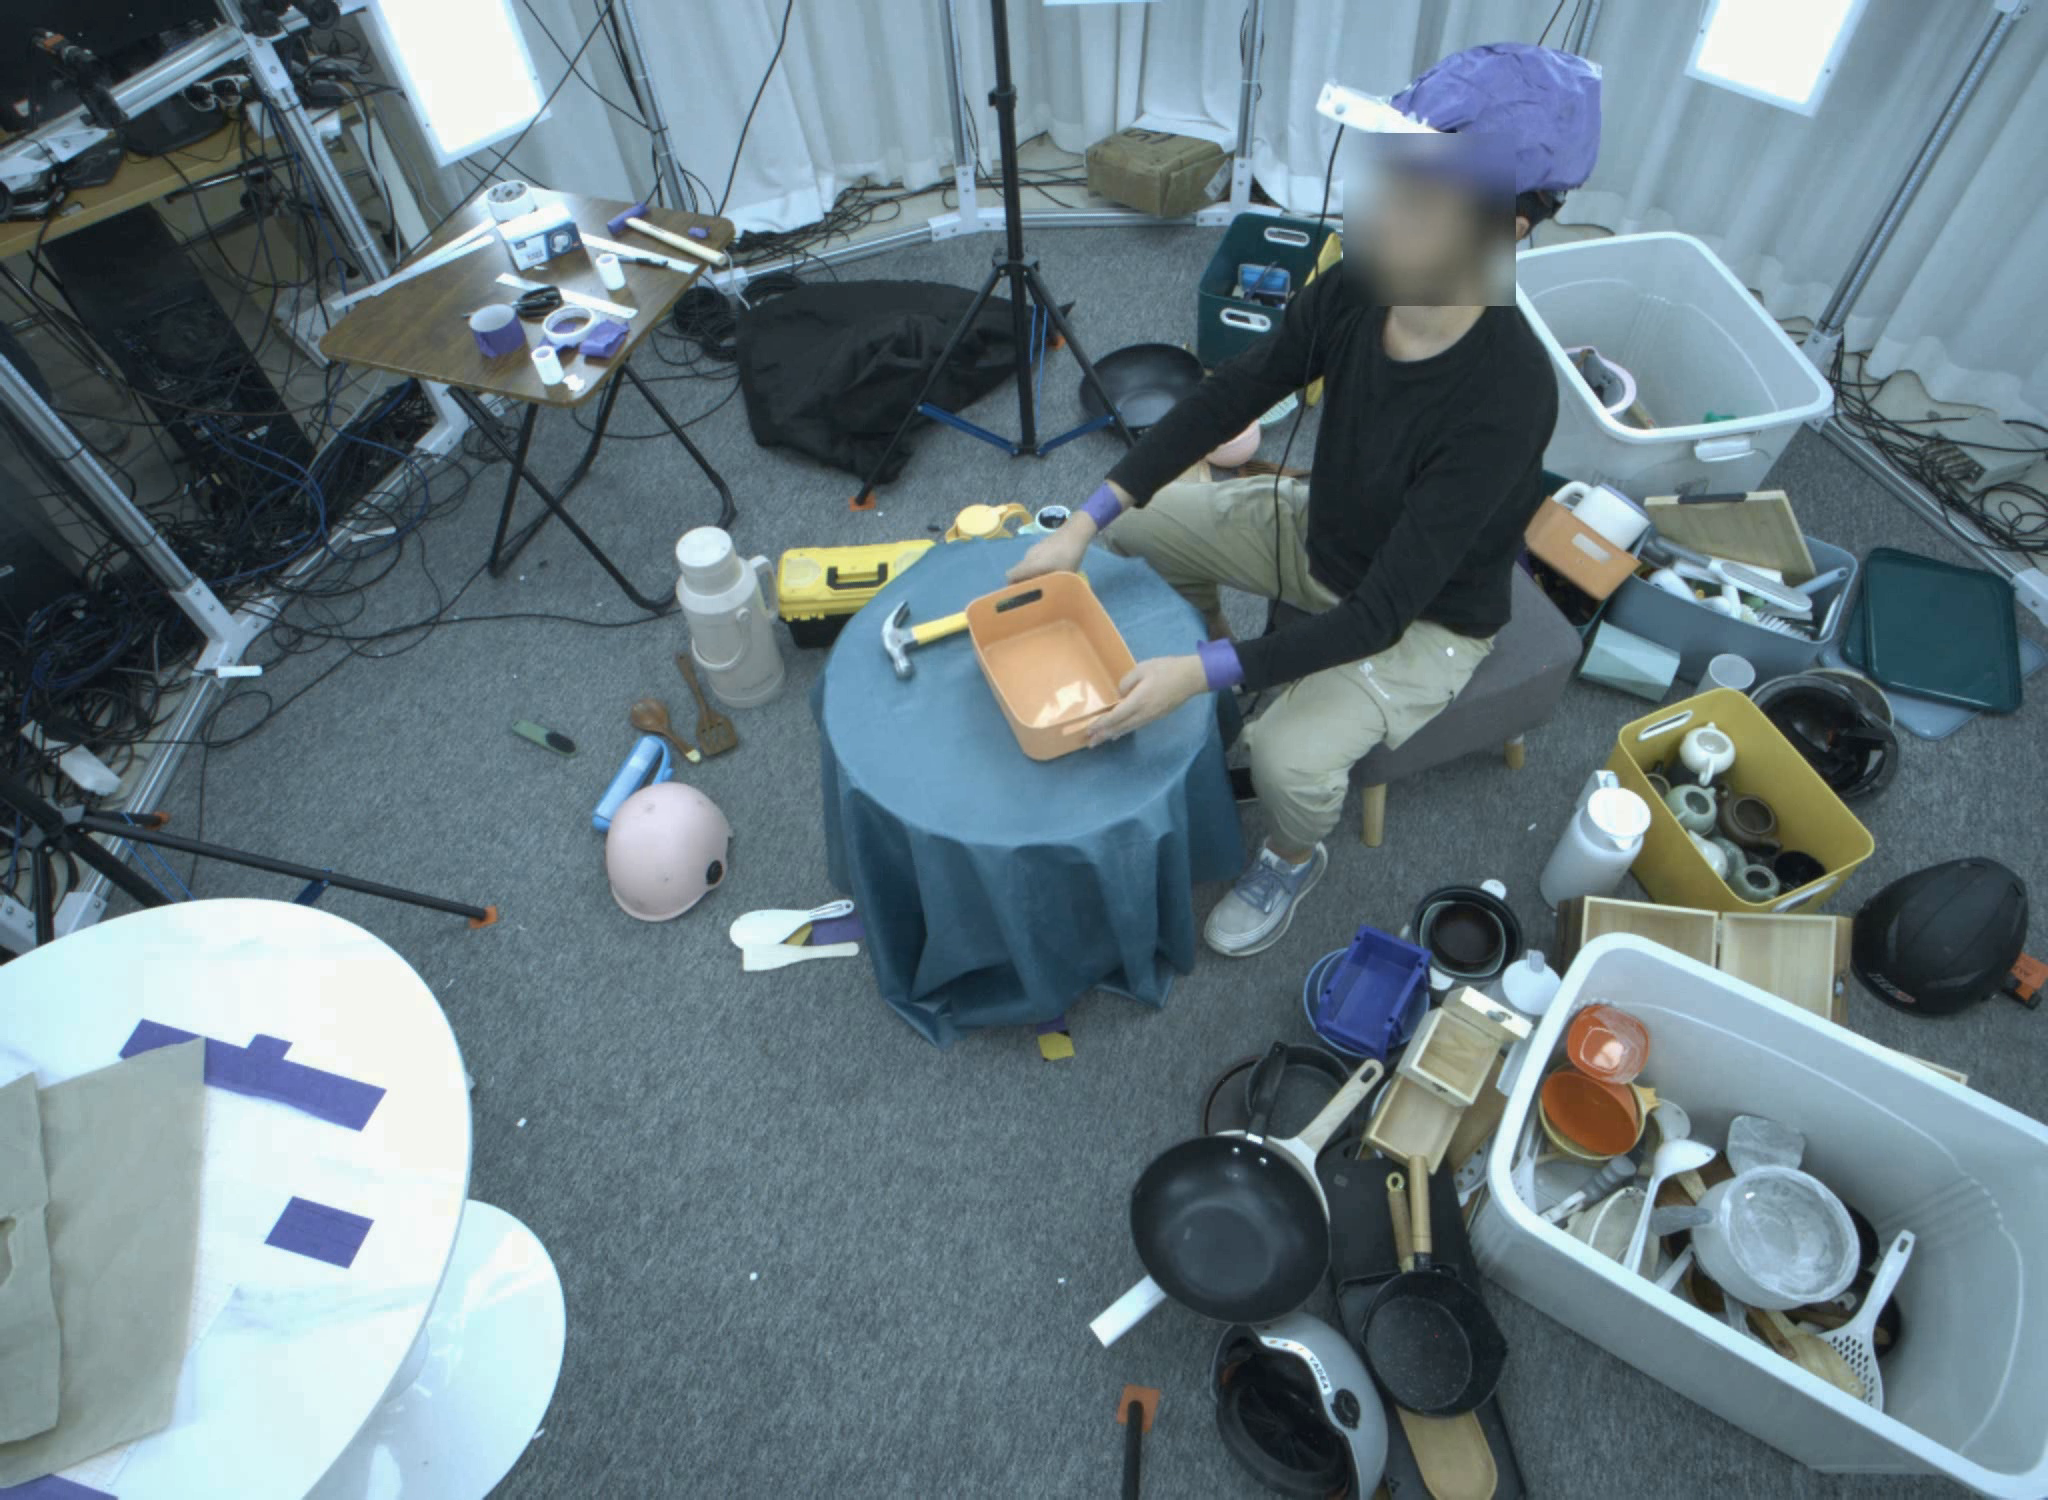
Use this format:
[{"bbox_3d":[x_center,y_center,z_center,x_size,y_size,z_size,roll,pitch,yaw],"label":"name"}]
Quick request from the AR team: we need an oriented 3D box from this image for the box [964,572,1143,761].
[{"bbox_3d":[0.042,-0.121,1.805,0.201,0.103,0.268,-20,57,-12],"label":"box"}]

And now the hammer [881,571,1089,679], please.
[{"bbox_3d":[-0.059,-0.215,1.913,0.340,0.032,0.129,-19,56,-9],"label":"hammer"}]
